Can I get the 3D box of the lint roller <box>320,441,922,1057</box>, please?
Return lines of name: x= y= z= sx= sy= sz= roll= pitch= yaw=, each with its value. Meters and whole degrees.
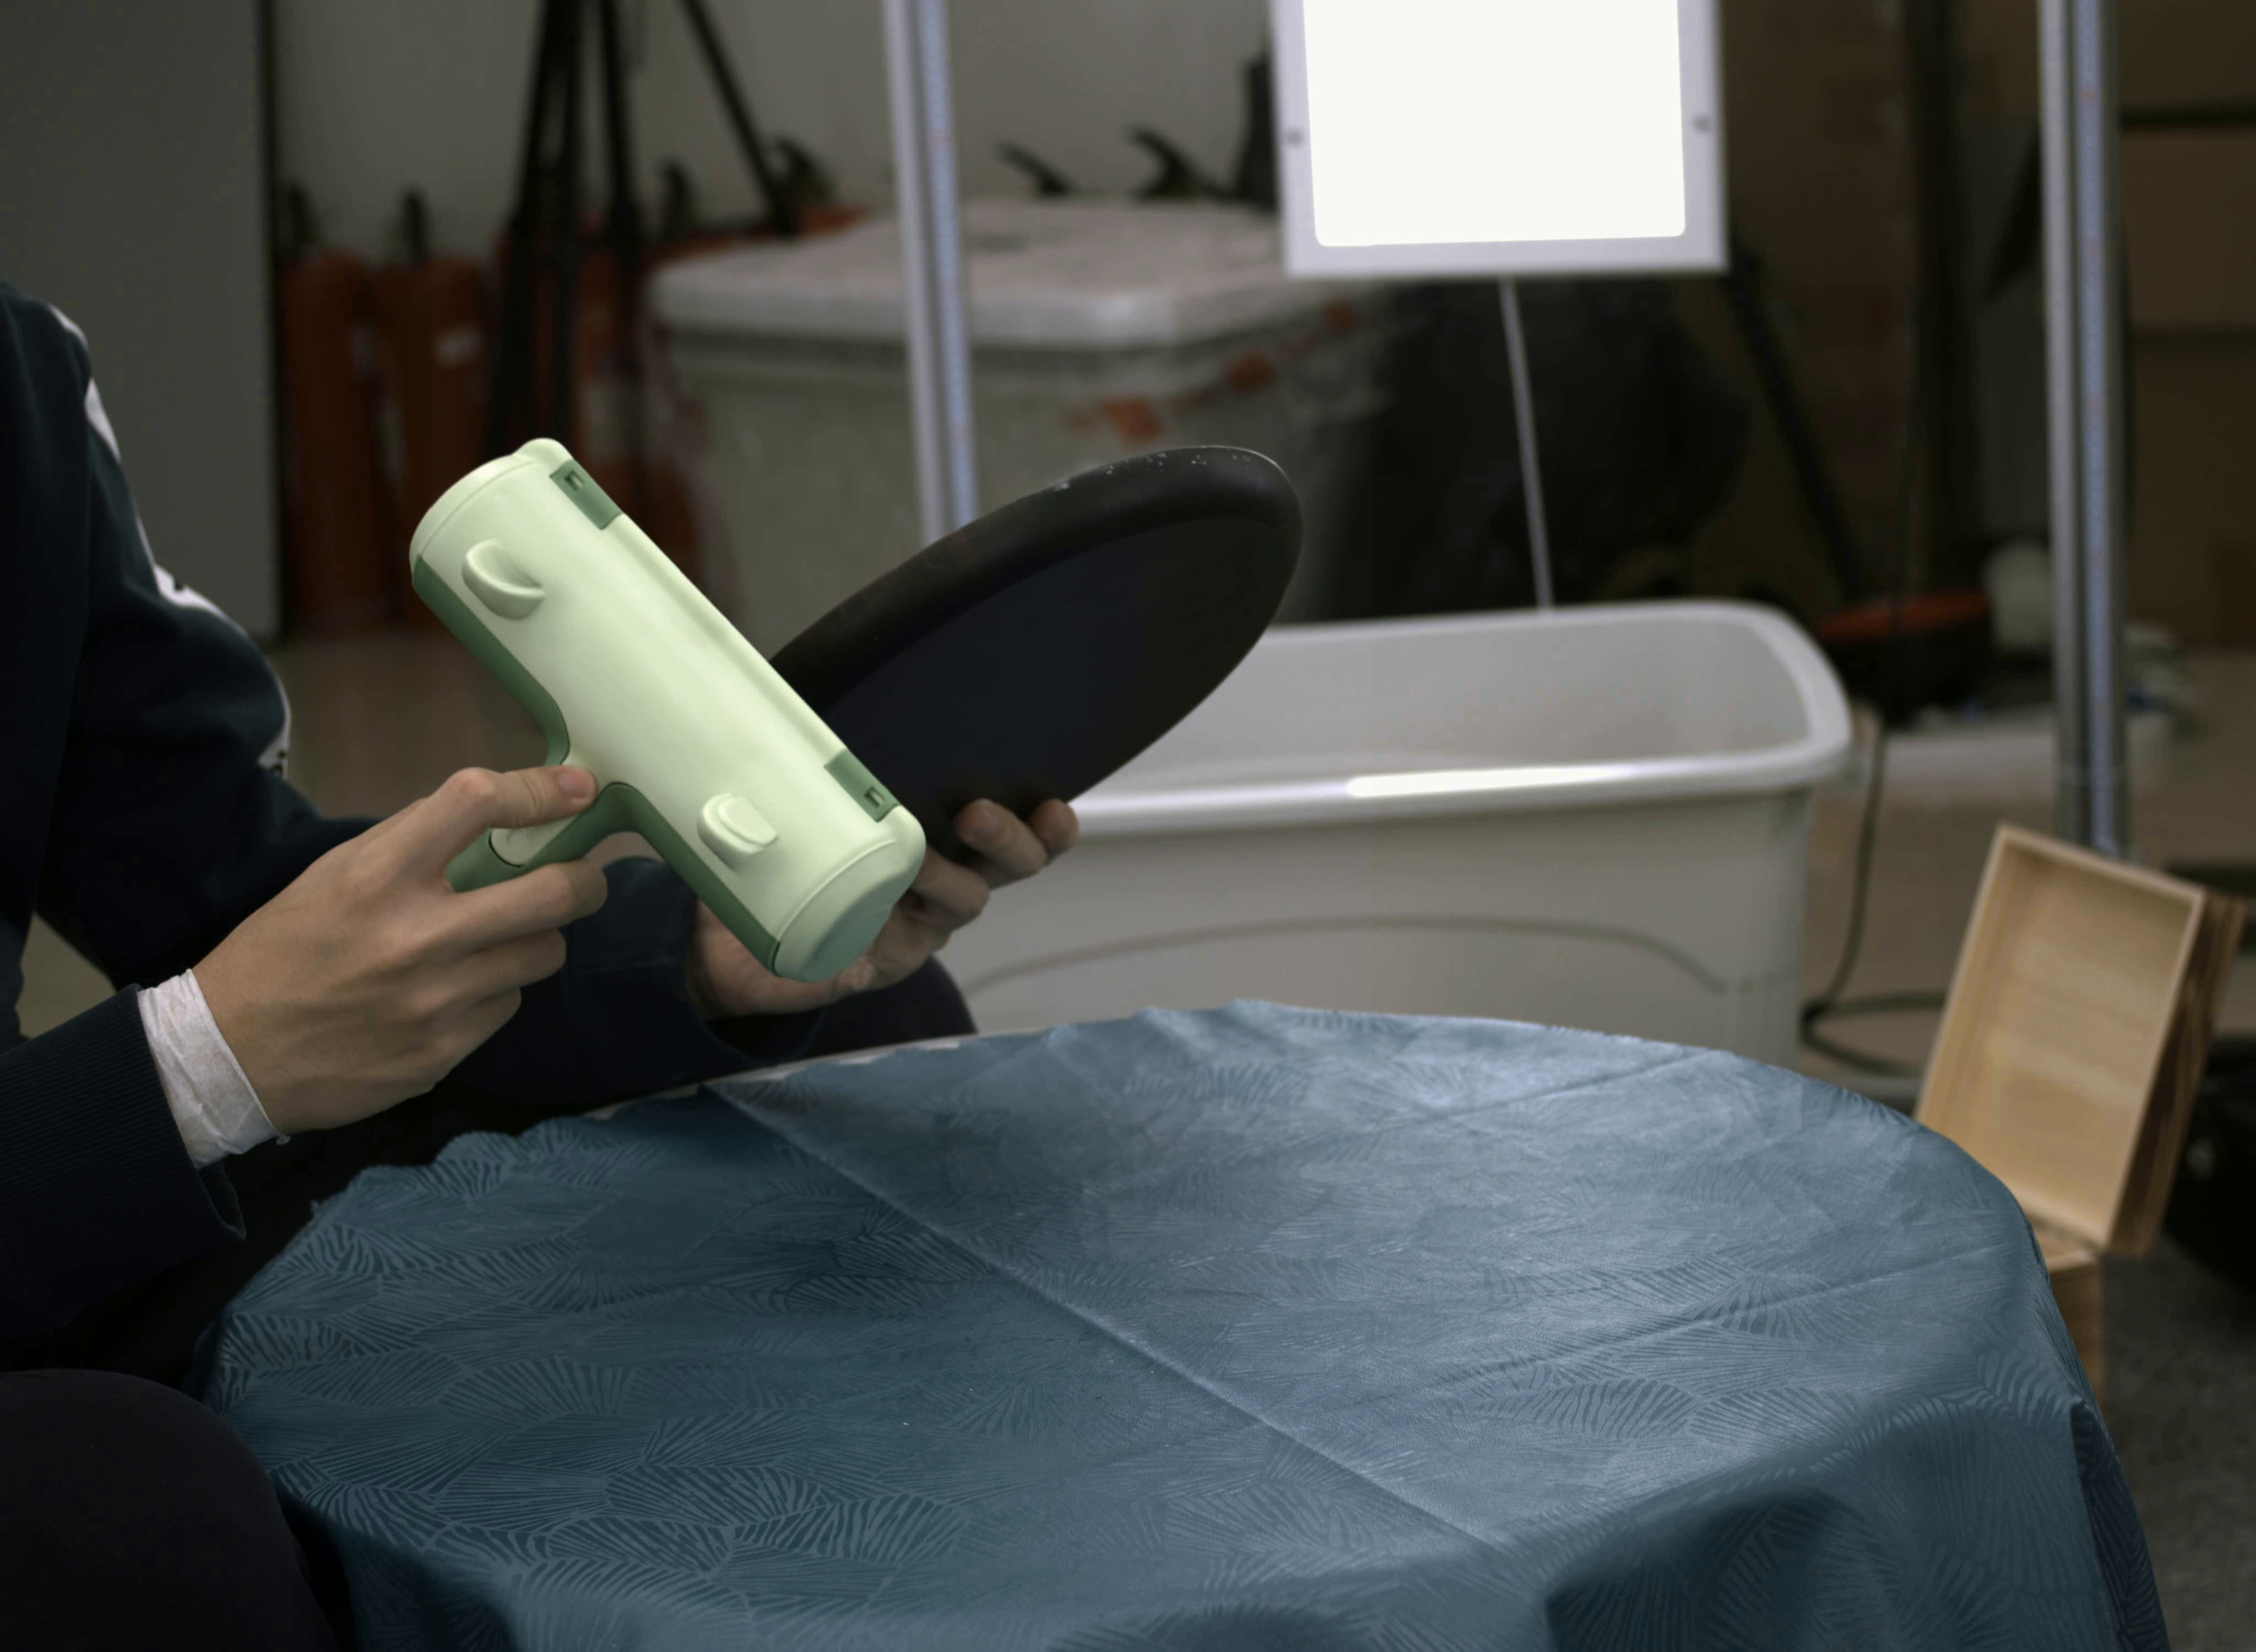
lint roller: x=-0.192 y=0.001 z=1.739 sx=0.183 sy=0.200 sz=0.082 roll=-42 pitch=-17 yaw=-3

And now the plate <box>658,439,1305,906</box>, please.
plate: x=-0.047 y=-0.046 z=1.887 sx=0.252 sy=0.029 sz=0.256 roll=-27 pitch=-18 yaw=-11
